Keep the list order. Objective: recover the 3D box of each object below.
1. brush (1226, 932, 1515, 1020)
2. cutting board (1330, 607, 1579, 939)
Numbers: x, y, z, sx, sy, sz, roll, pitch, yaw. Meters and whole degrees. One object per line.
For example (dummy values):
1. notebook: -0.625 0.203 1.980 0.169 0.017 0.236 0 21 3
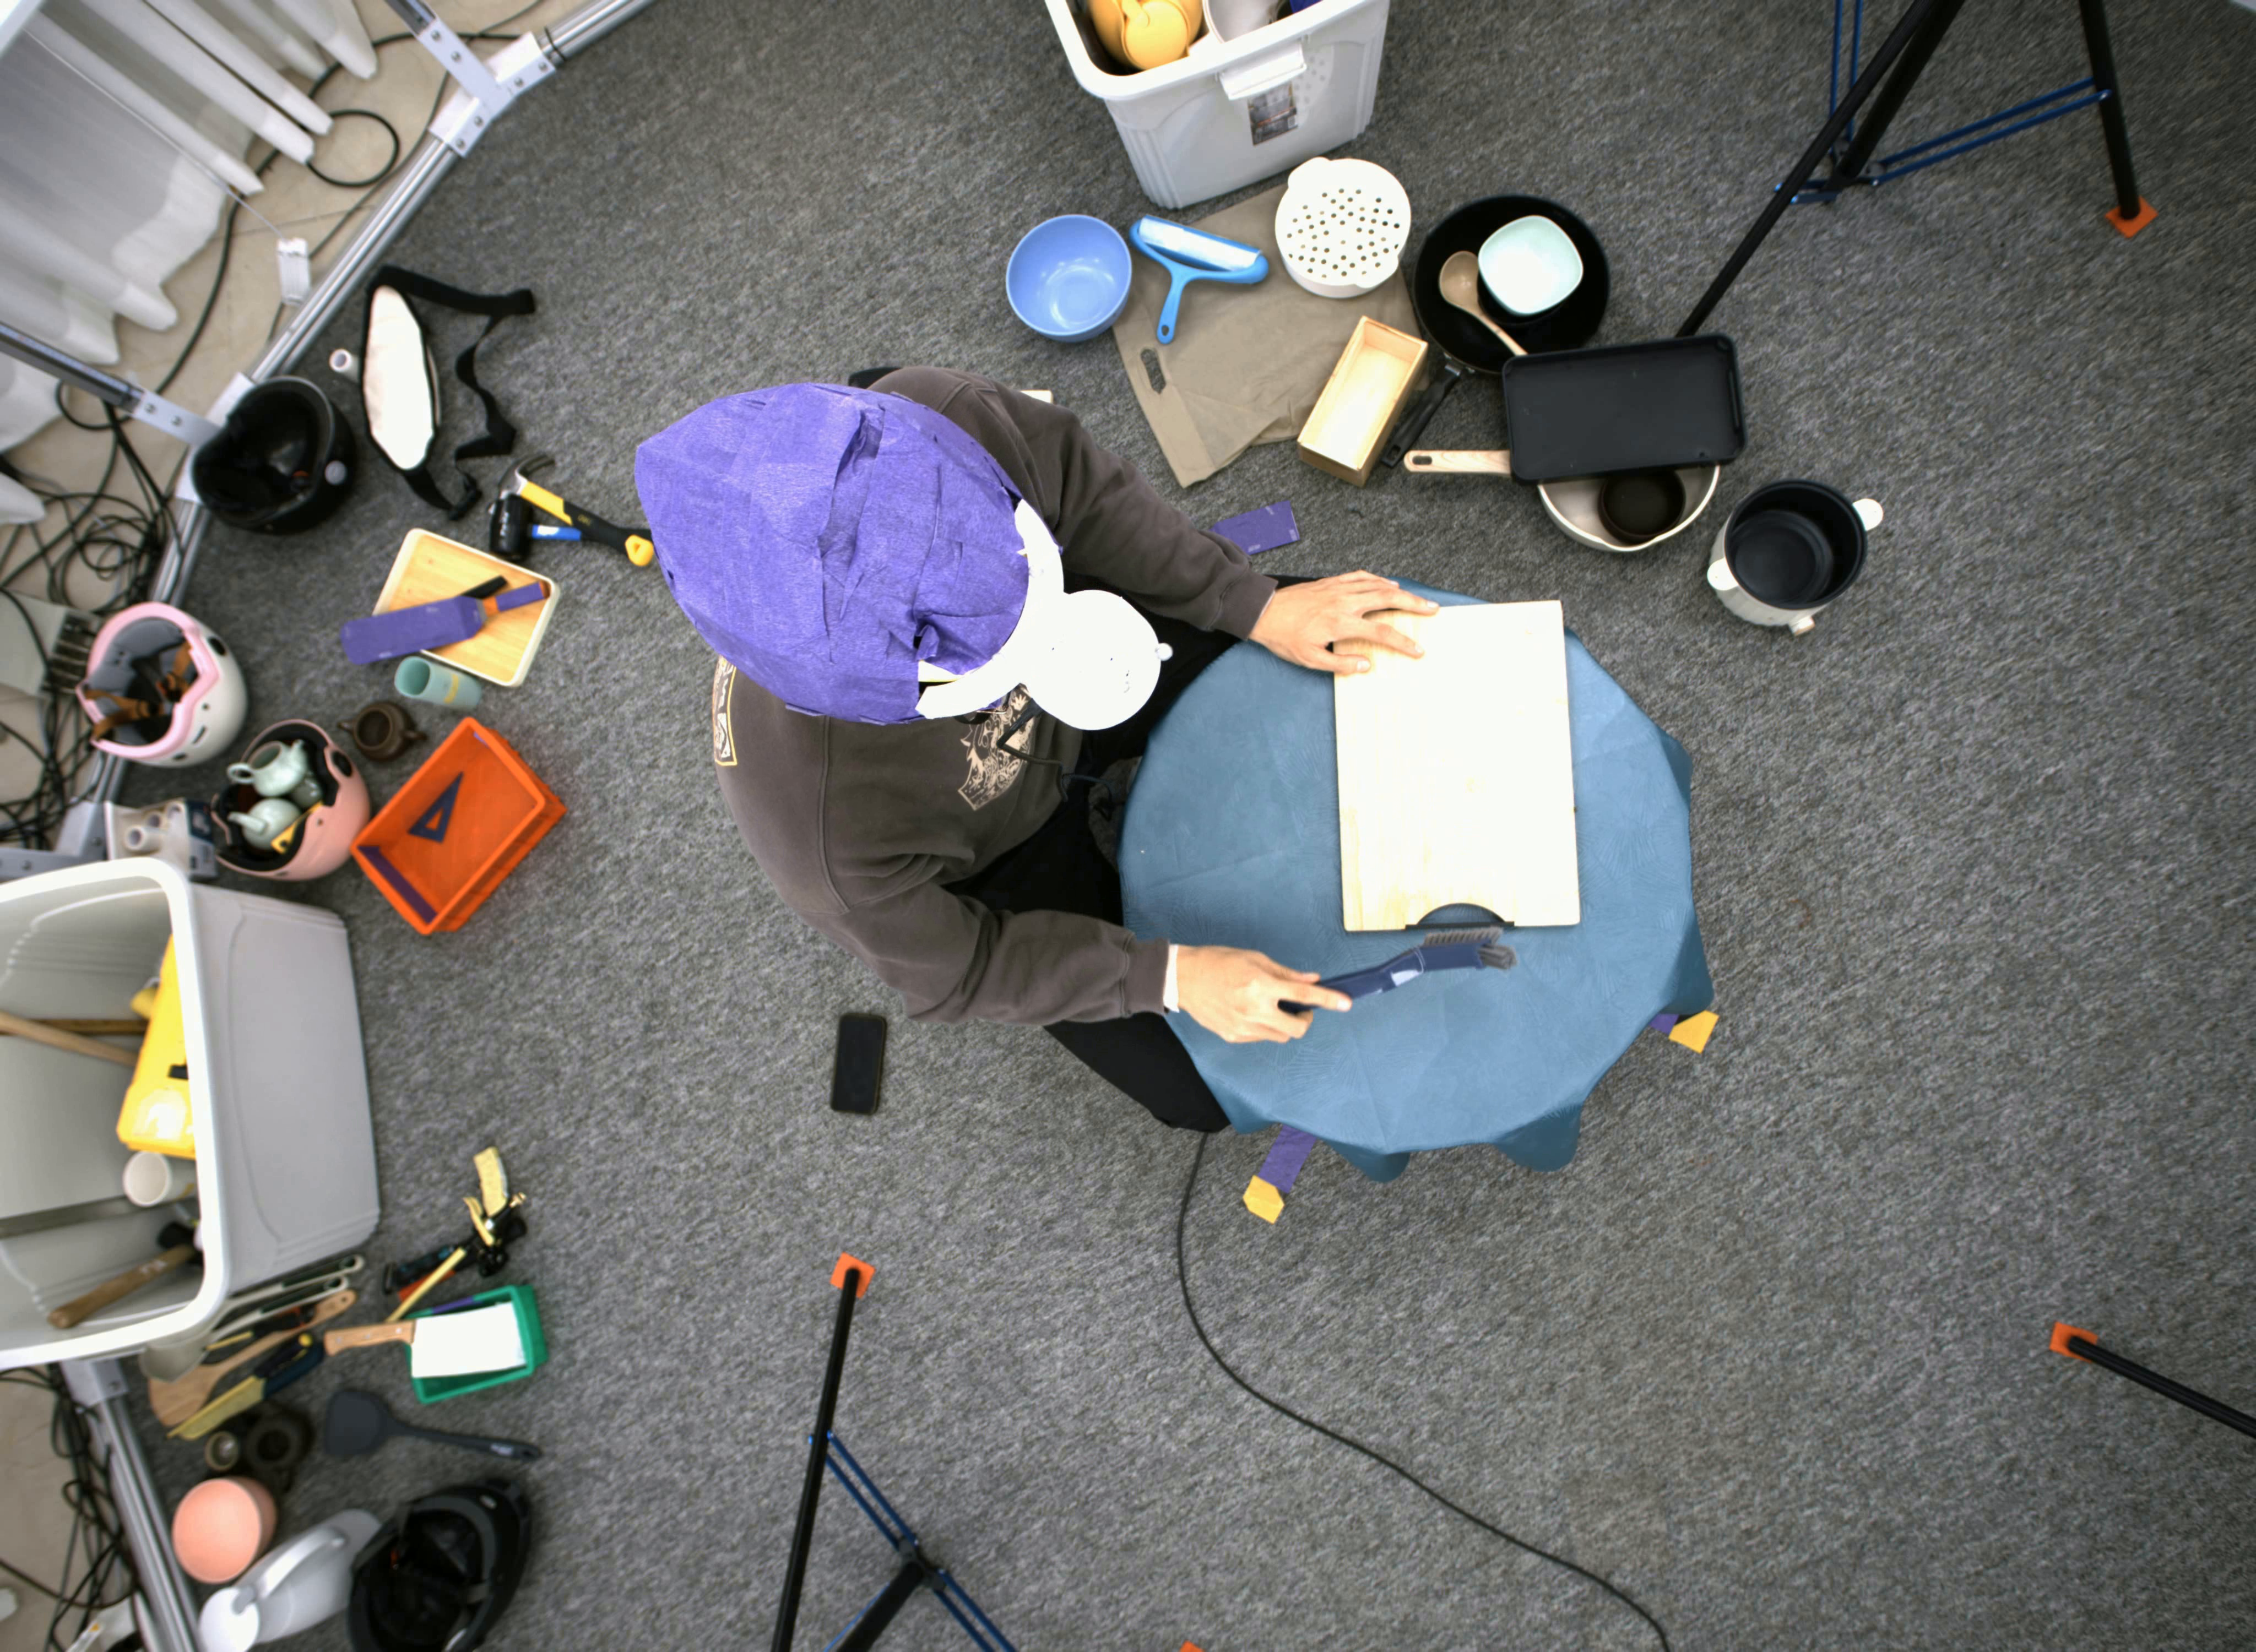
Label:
1. brush: 0.226 0.148 1.322 0.275 0.093 0.034 -20 113 14
2. cutting board: 0.340 -0.060 1.443 0.252 0.023 0.347 -3 87 11
